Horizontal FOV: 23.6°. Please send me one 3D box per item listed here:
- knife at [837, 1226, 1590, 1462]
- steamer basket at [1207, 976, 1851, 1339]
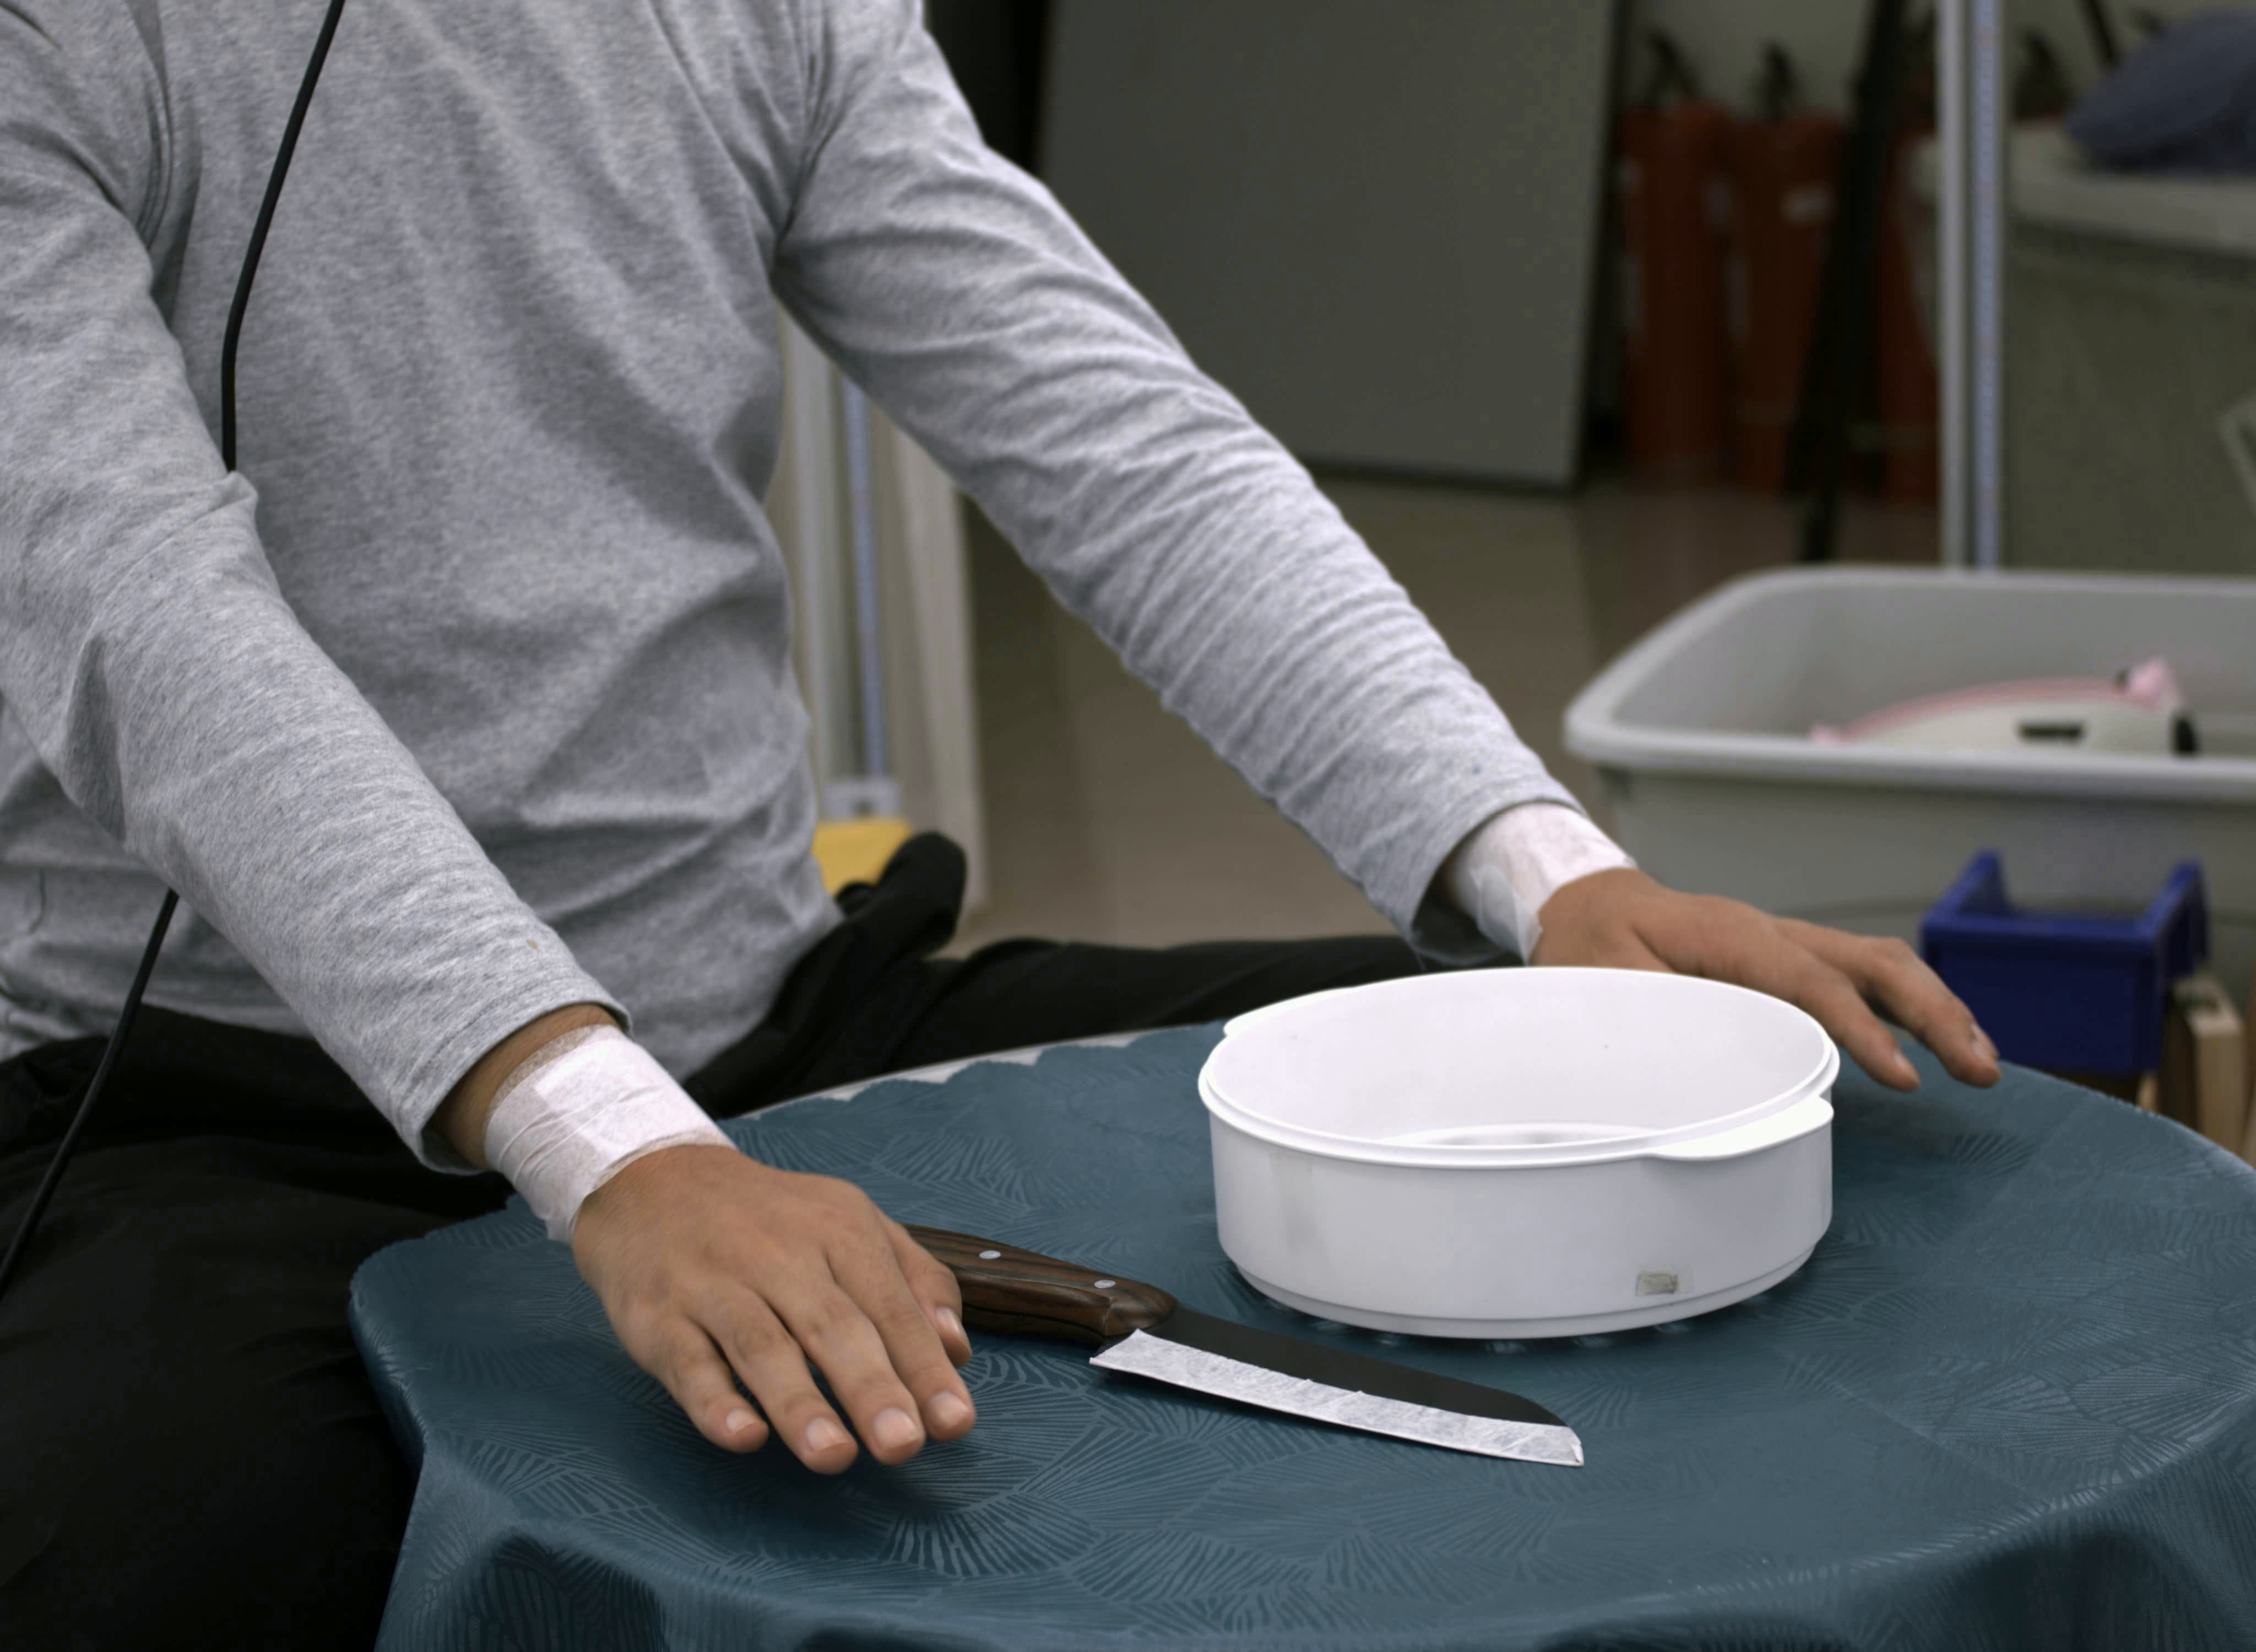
[{"bbox_3d":[0.020,0.155,1.597,0.291,0.020,0.049,11,24,40],"label":"knife"},{"bbox_3d":[0.125,0.103,1.671,0.197,0.070,0.233,-13,16,-37],"label":"steamer basket"}]
